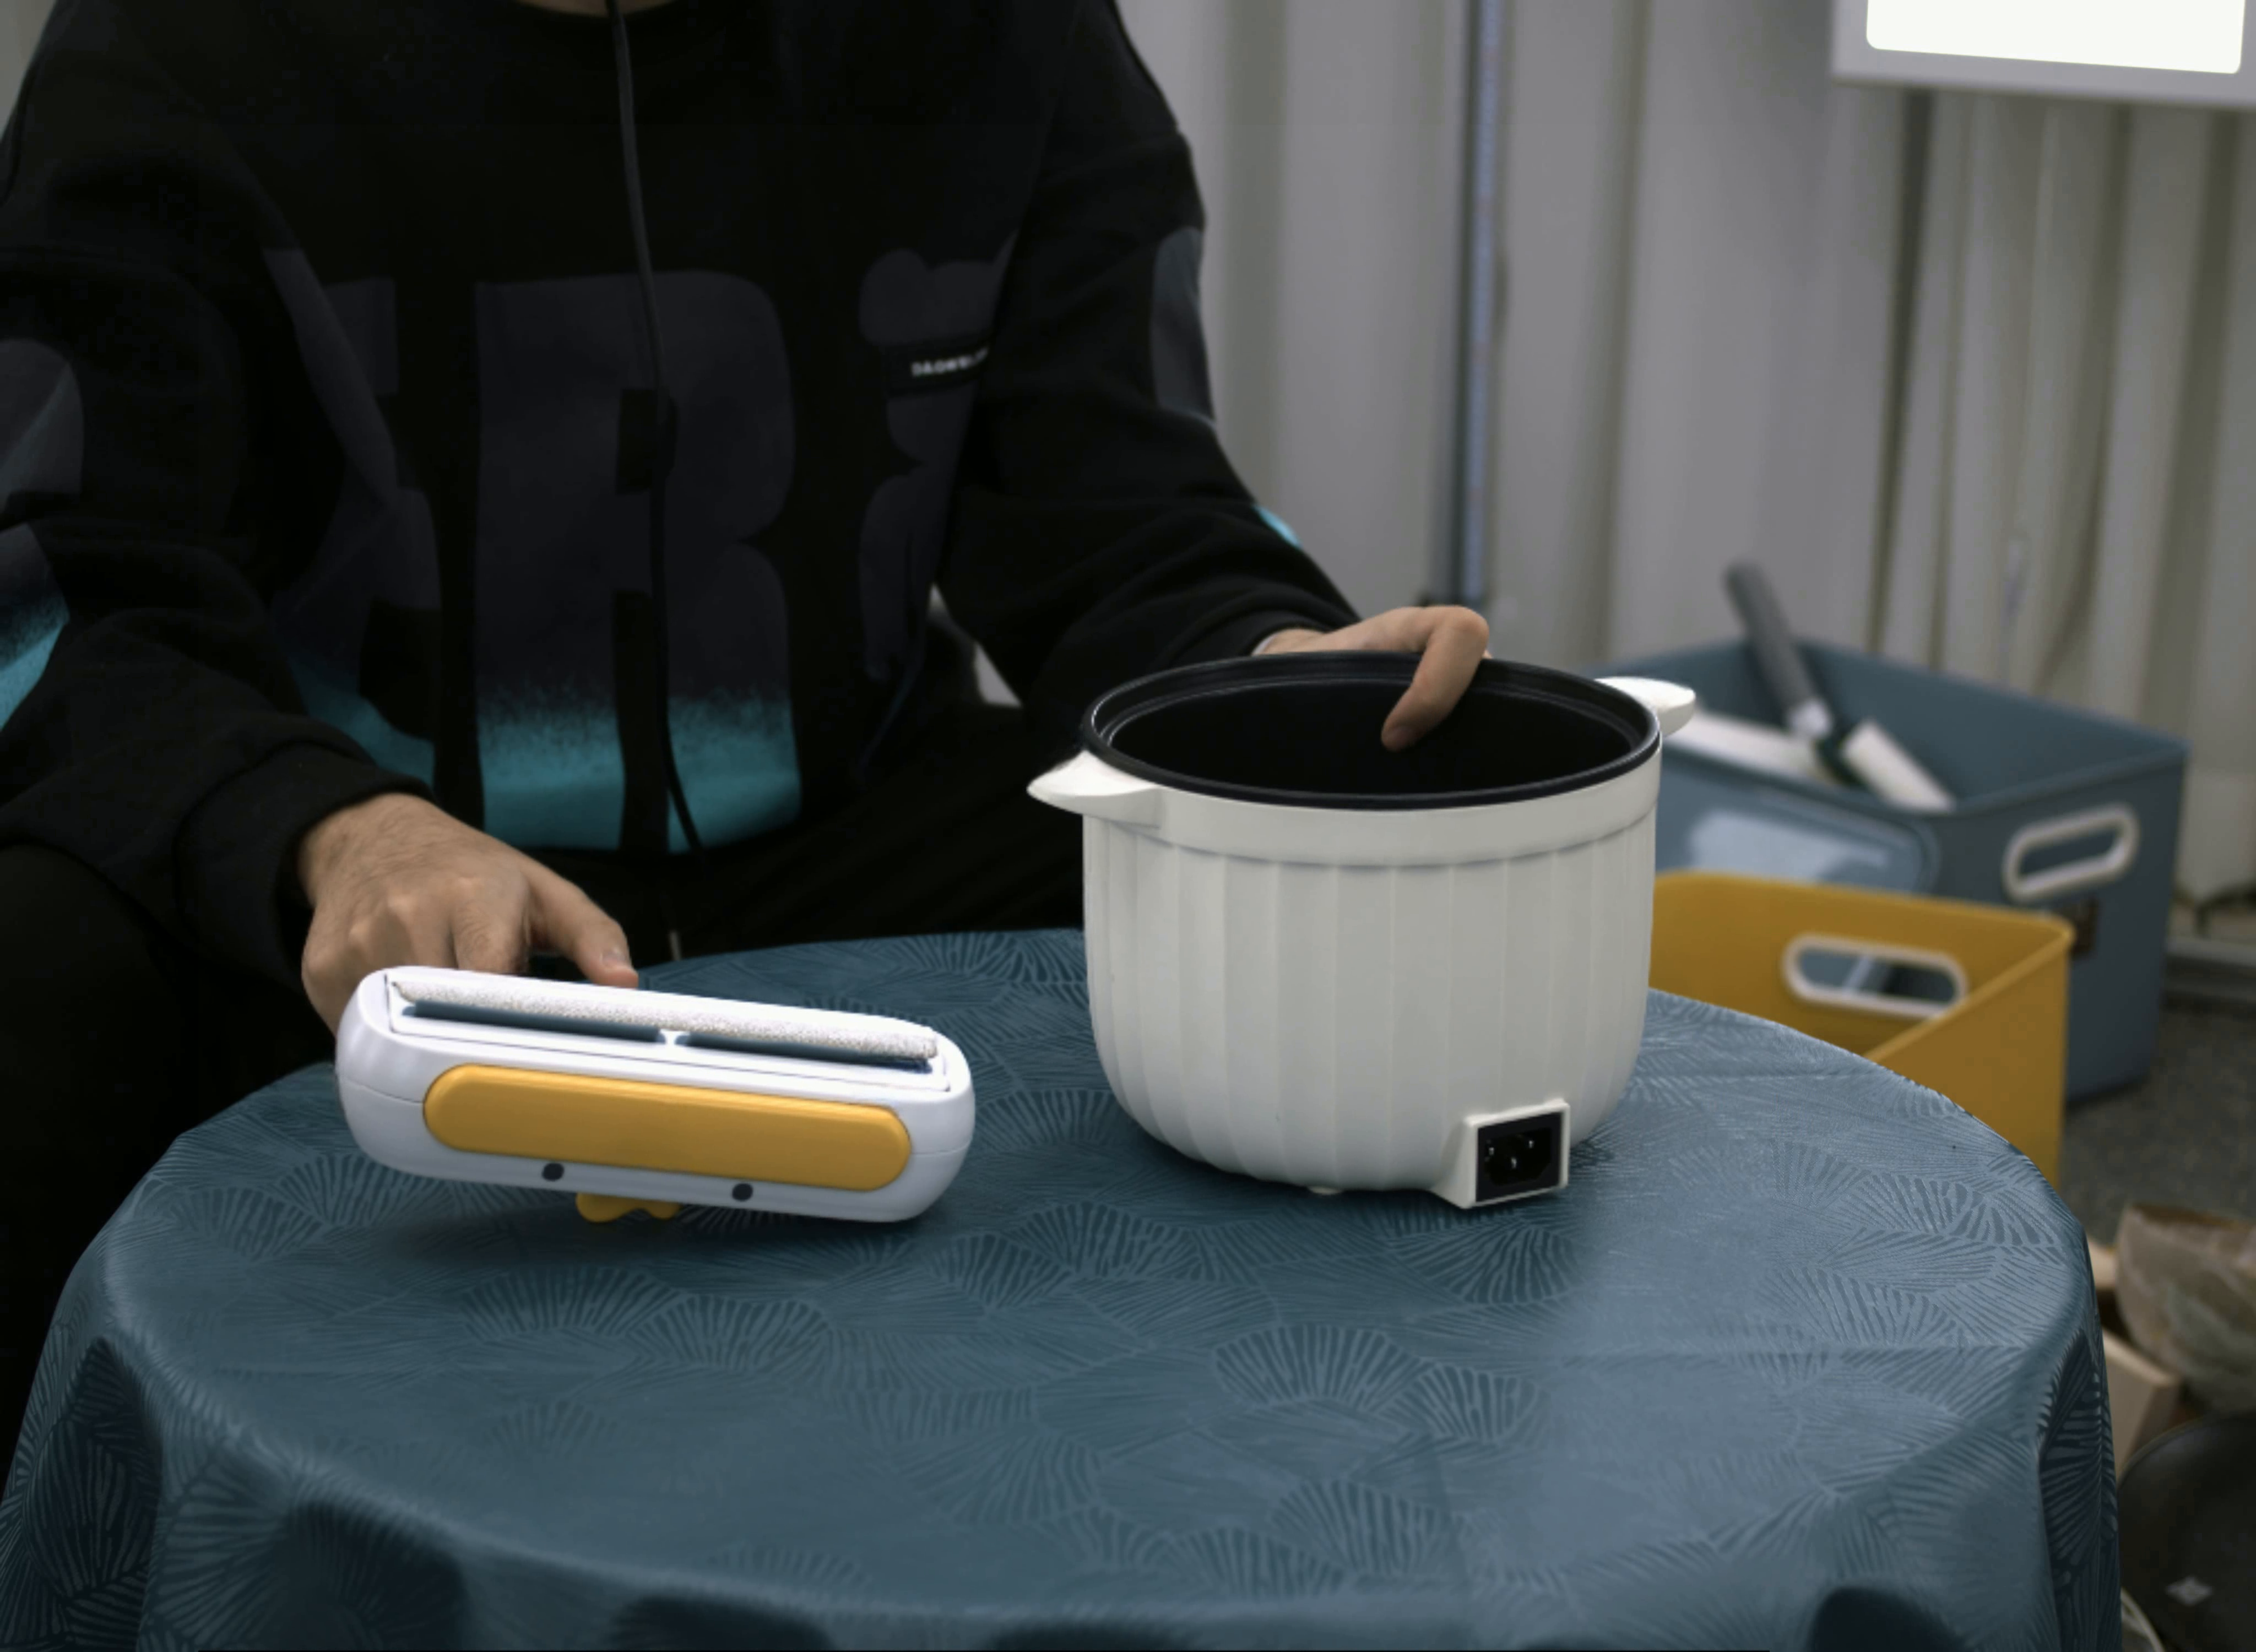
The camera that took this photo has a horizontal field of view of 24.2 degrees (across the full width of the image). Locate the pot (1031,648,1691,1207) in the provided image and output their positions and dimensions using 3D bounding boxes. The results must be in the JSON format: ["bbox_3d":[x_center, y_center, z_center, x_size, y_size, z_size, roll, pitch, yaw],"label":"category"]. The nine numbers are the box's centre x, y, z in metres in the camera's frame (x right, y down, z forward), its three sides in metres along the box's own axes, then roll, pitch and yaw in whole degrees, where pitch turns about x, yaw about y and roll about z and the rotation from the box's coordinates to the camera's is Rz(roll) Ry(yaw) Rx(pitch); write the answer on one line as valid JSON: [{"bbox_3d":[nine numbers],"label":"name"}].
[{"bbox_3d":[0.071,0.030,1.658,0.241,0.144,0.188,-8,20,-31],"label":"pot"}]

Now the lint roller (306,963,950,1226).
[{"bbox_3d":[-0.157,0.072,1.631,0.193,0.075,0.191,3,14,-9],"label":"lint roller"}]
